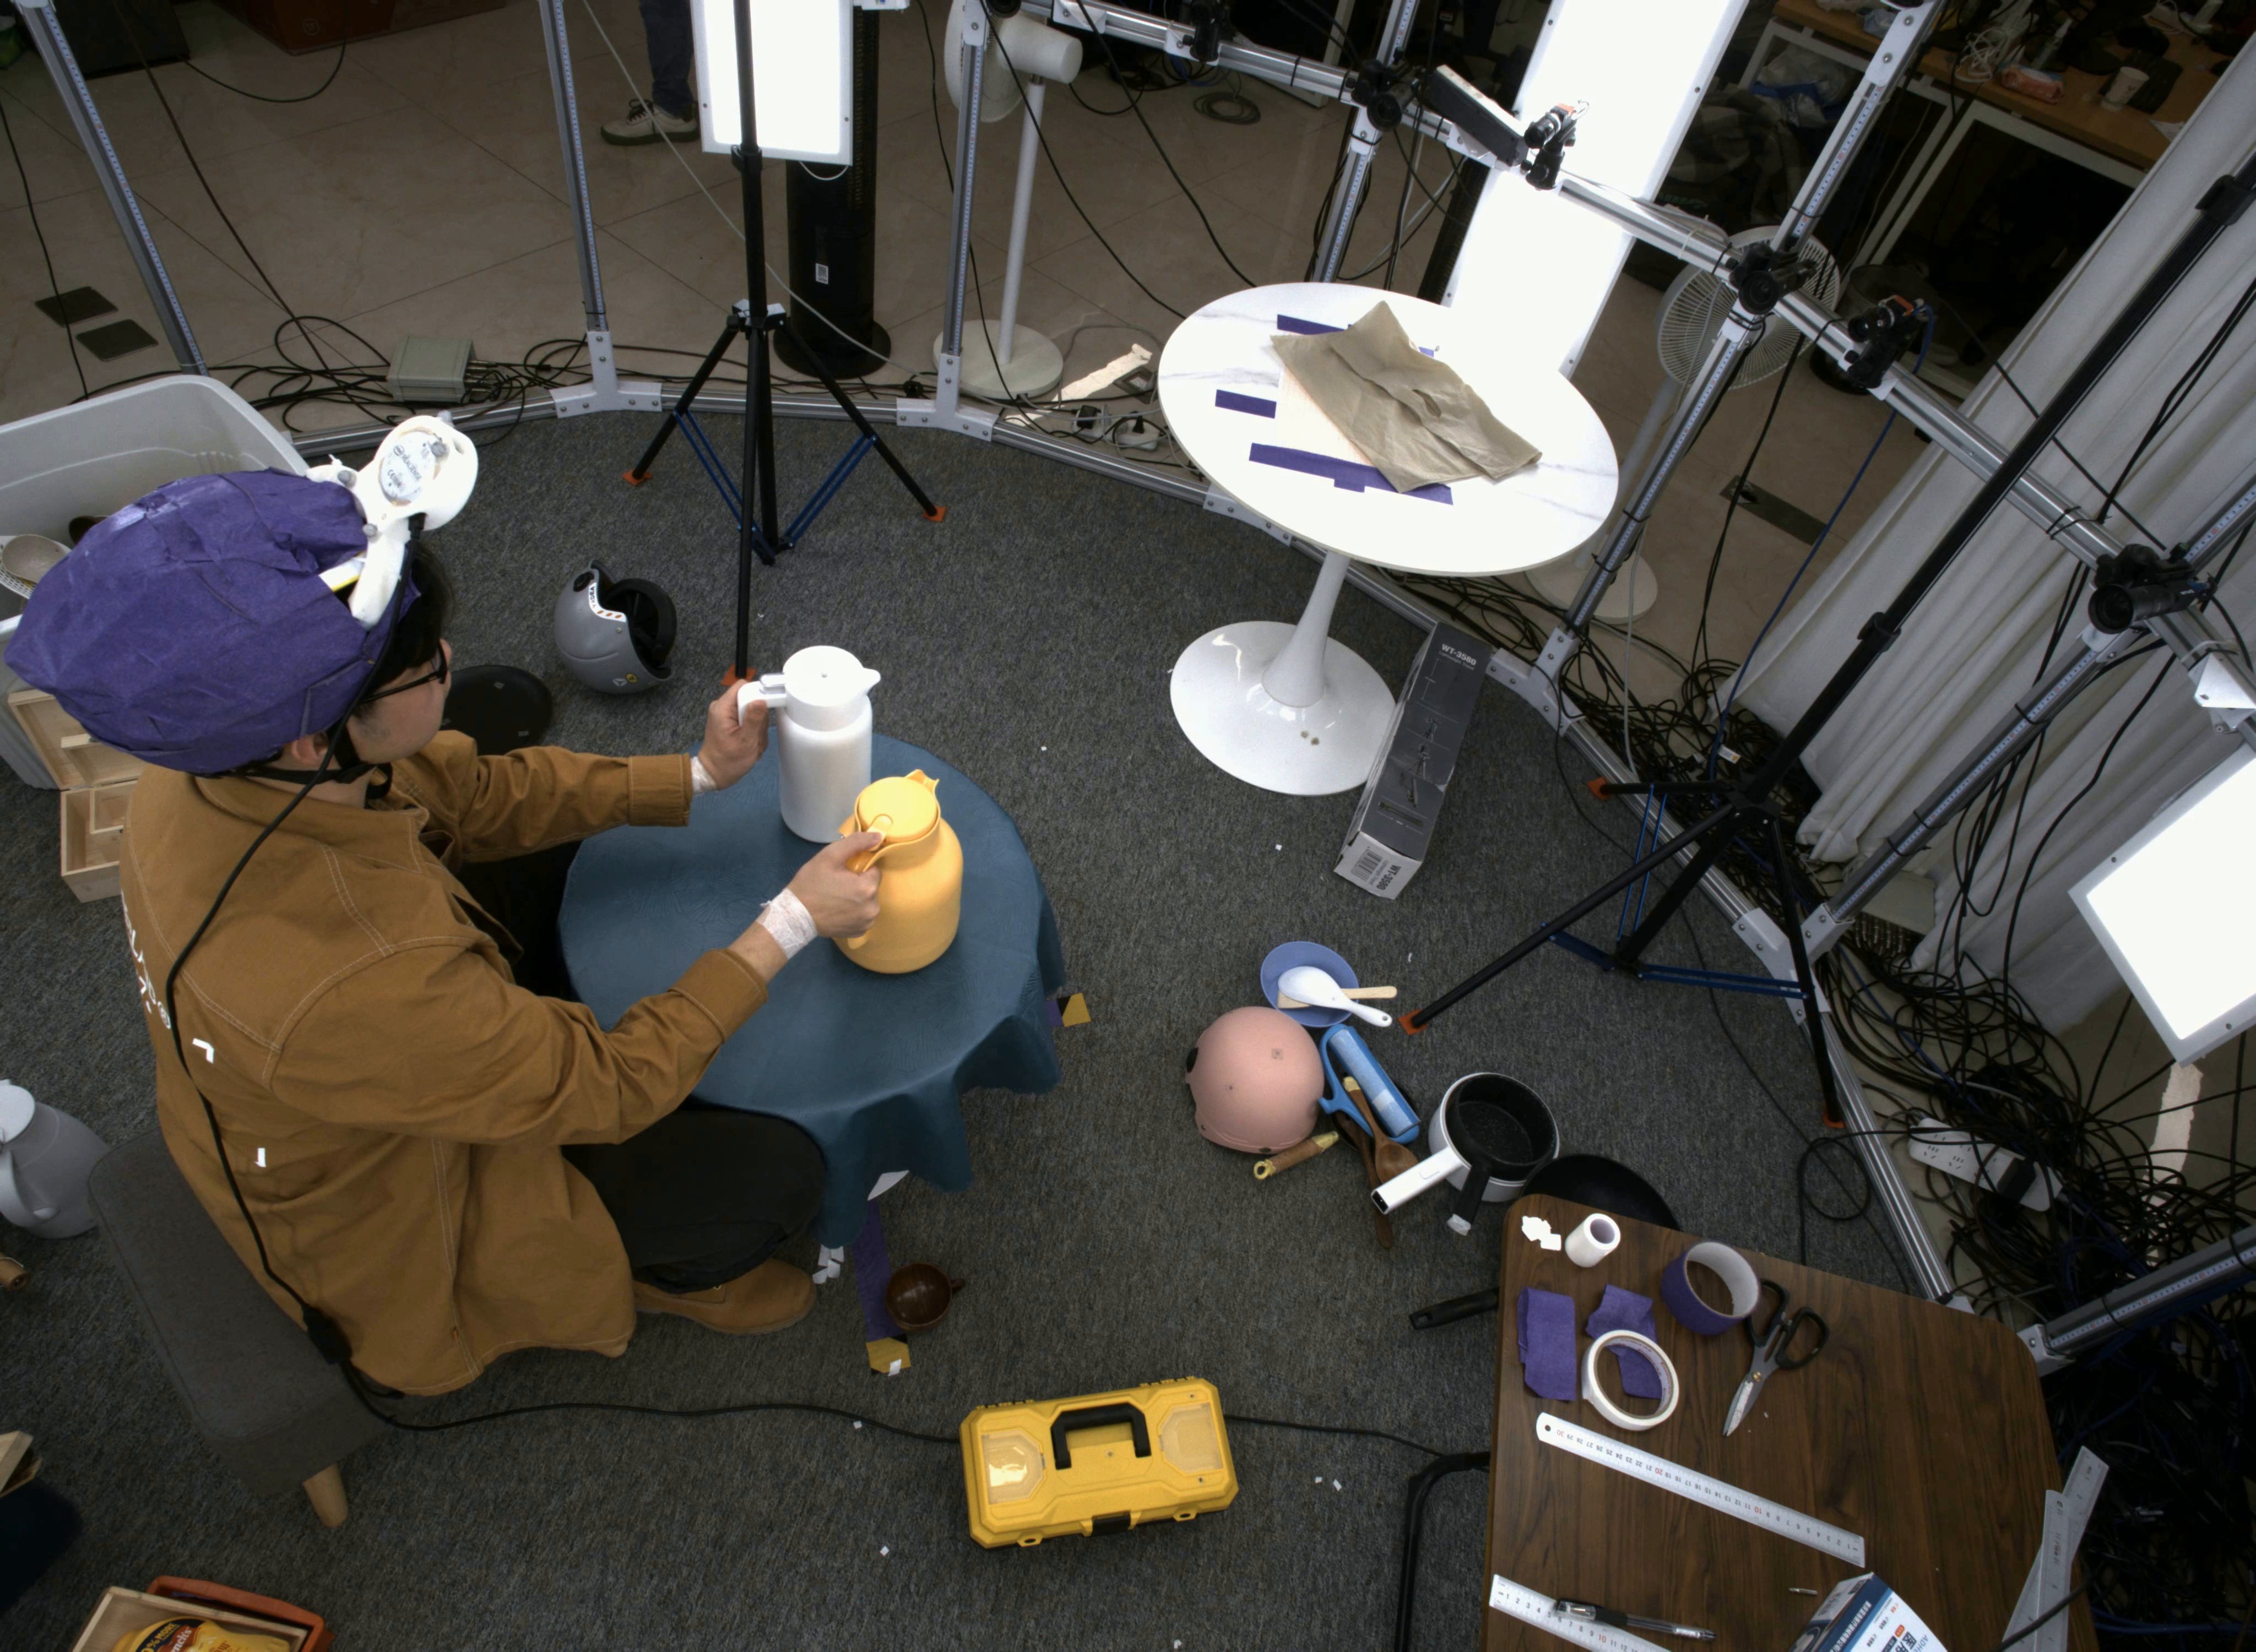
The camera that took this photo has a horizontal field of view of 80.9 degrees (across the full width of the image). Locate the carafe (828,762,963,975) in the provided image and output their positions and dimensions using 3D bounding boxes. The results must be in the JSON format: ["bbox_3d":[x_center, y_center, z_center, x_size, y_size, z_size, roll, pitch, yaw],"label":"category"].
[{"bbox_3d":[-0.287,0.060,1.542,0.160,0.267,0.201,25,50,12],"label":"carafe"}]

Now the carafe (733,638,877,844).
[{"bbox_3d":[-0.402,-0.100,1.629,0.173,0.274,0.121,-9,56,-18],"label":"carafe"}]
